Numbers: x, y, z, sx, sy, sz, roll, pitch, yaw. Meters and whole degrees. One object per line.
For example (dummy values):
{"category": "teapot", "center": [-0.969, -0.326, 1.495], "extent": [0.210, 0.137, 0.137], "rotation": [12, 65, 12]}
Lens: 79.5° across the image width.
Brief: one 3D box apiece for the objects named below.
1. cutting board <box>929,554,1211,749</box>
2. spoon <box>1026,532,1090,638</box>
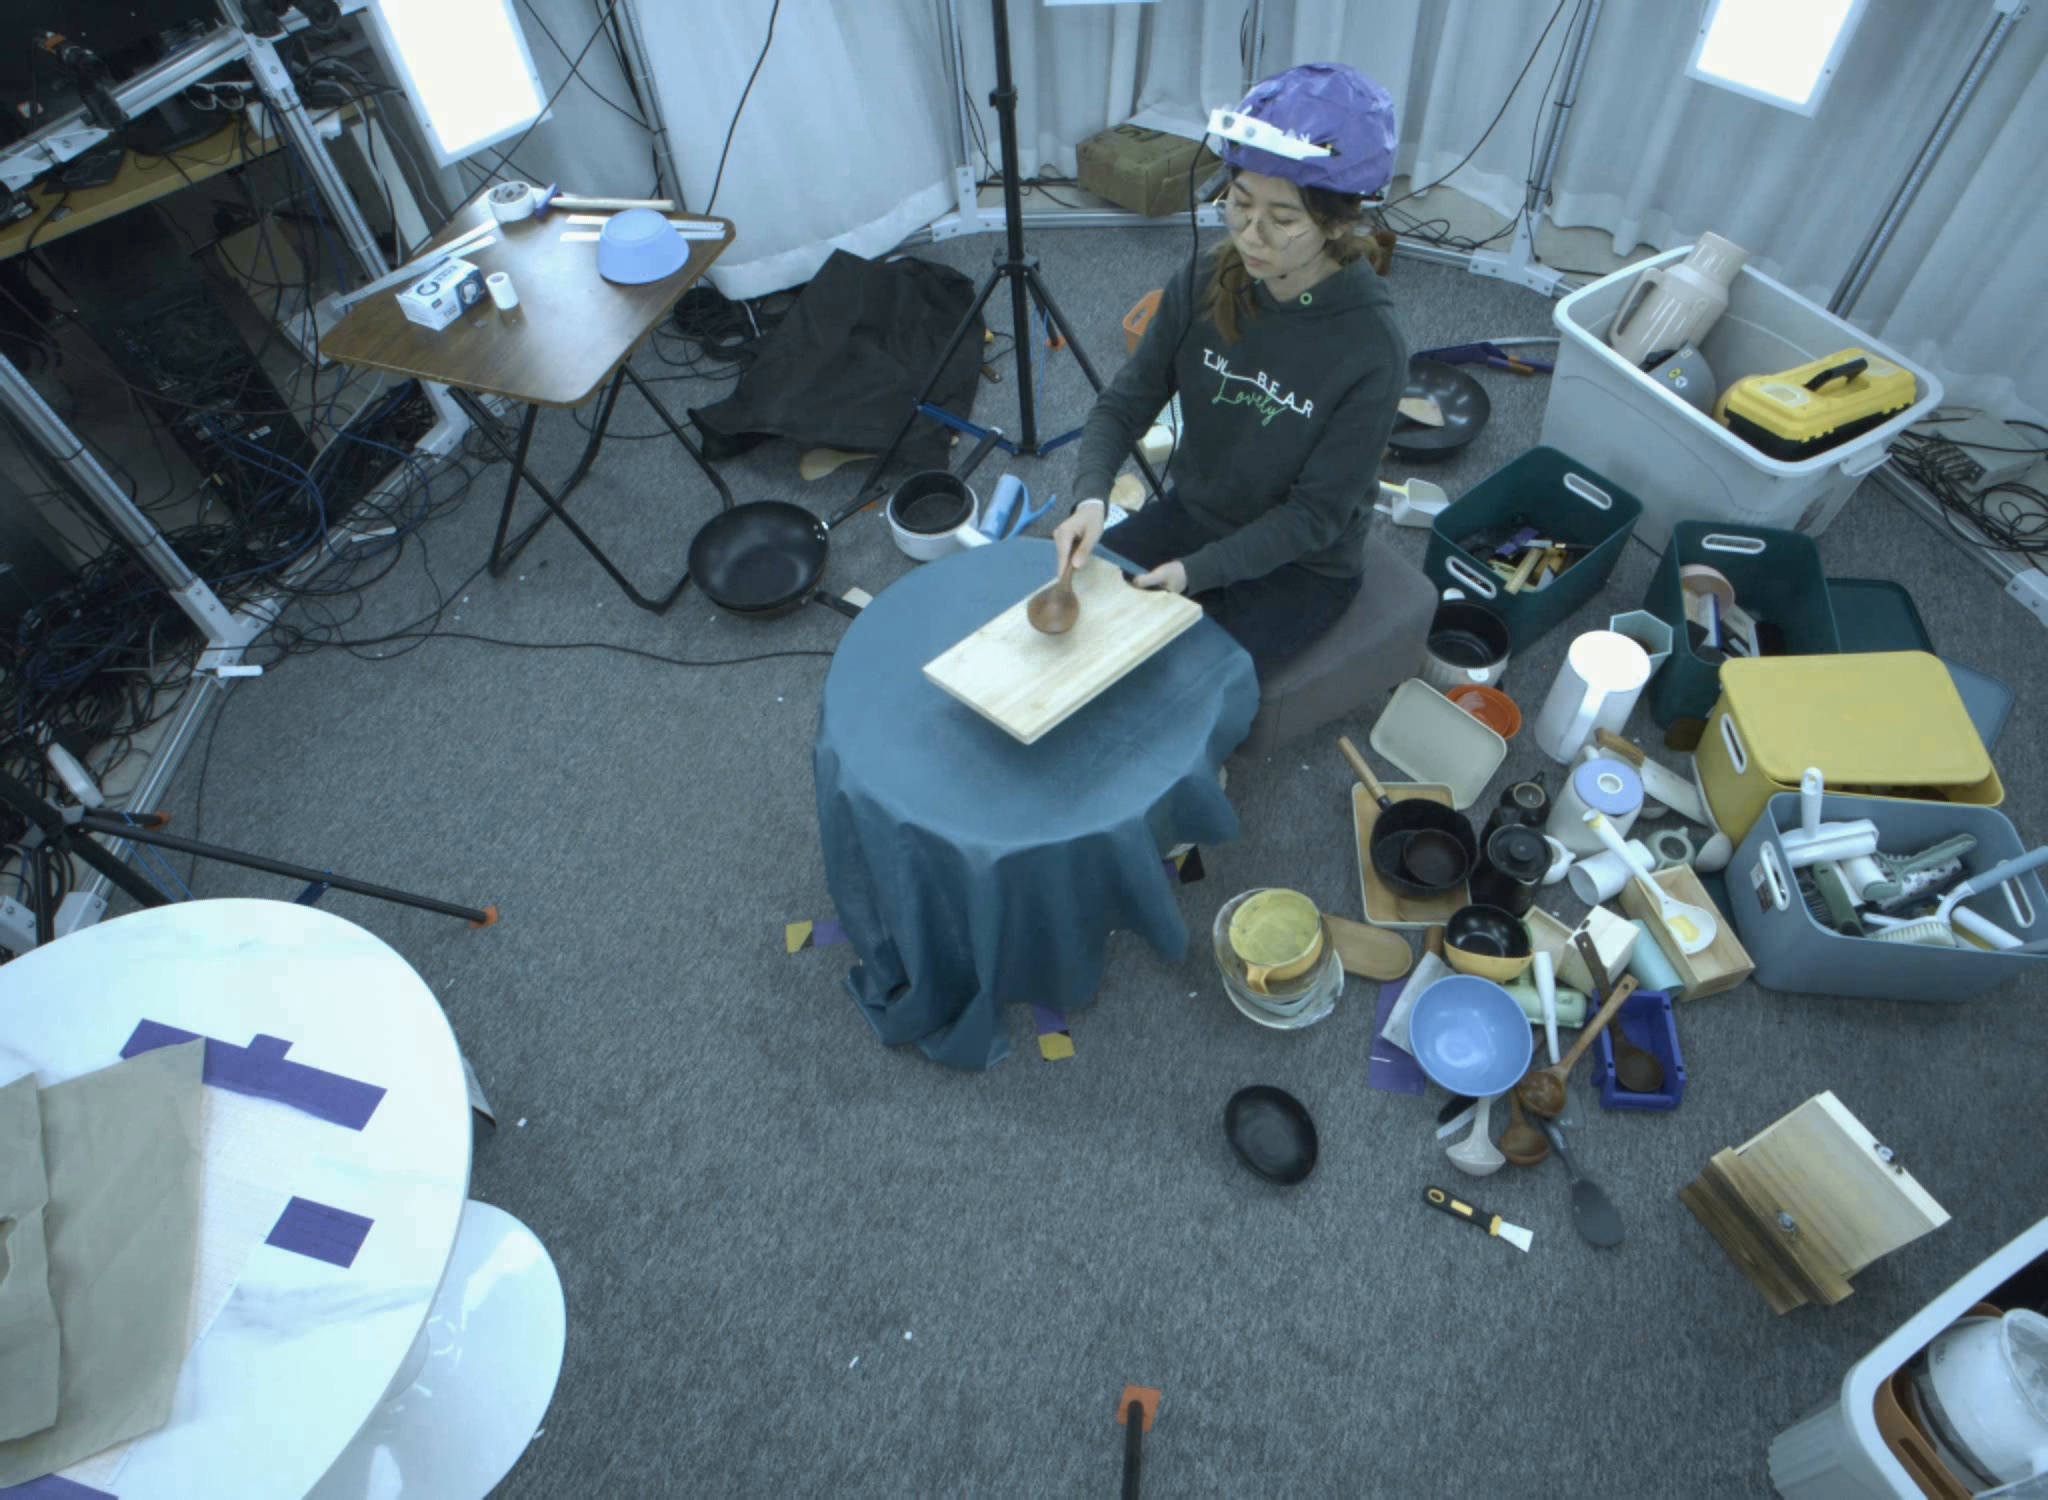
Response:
{"category": "cutting board", "center": [0.063, -0.154, 1.783], "extent": [0.351, 0.024, 0.245], "rotation": [-37, 49, -23]}
{"category": "spoon", "center": [0.059, -0.240, 1.786], "extent": [0.075, 0.017, 0.215], "rotation": [15, 56, 7]}
